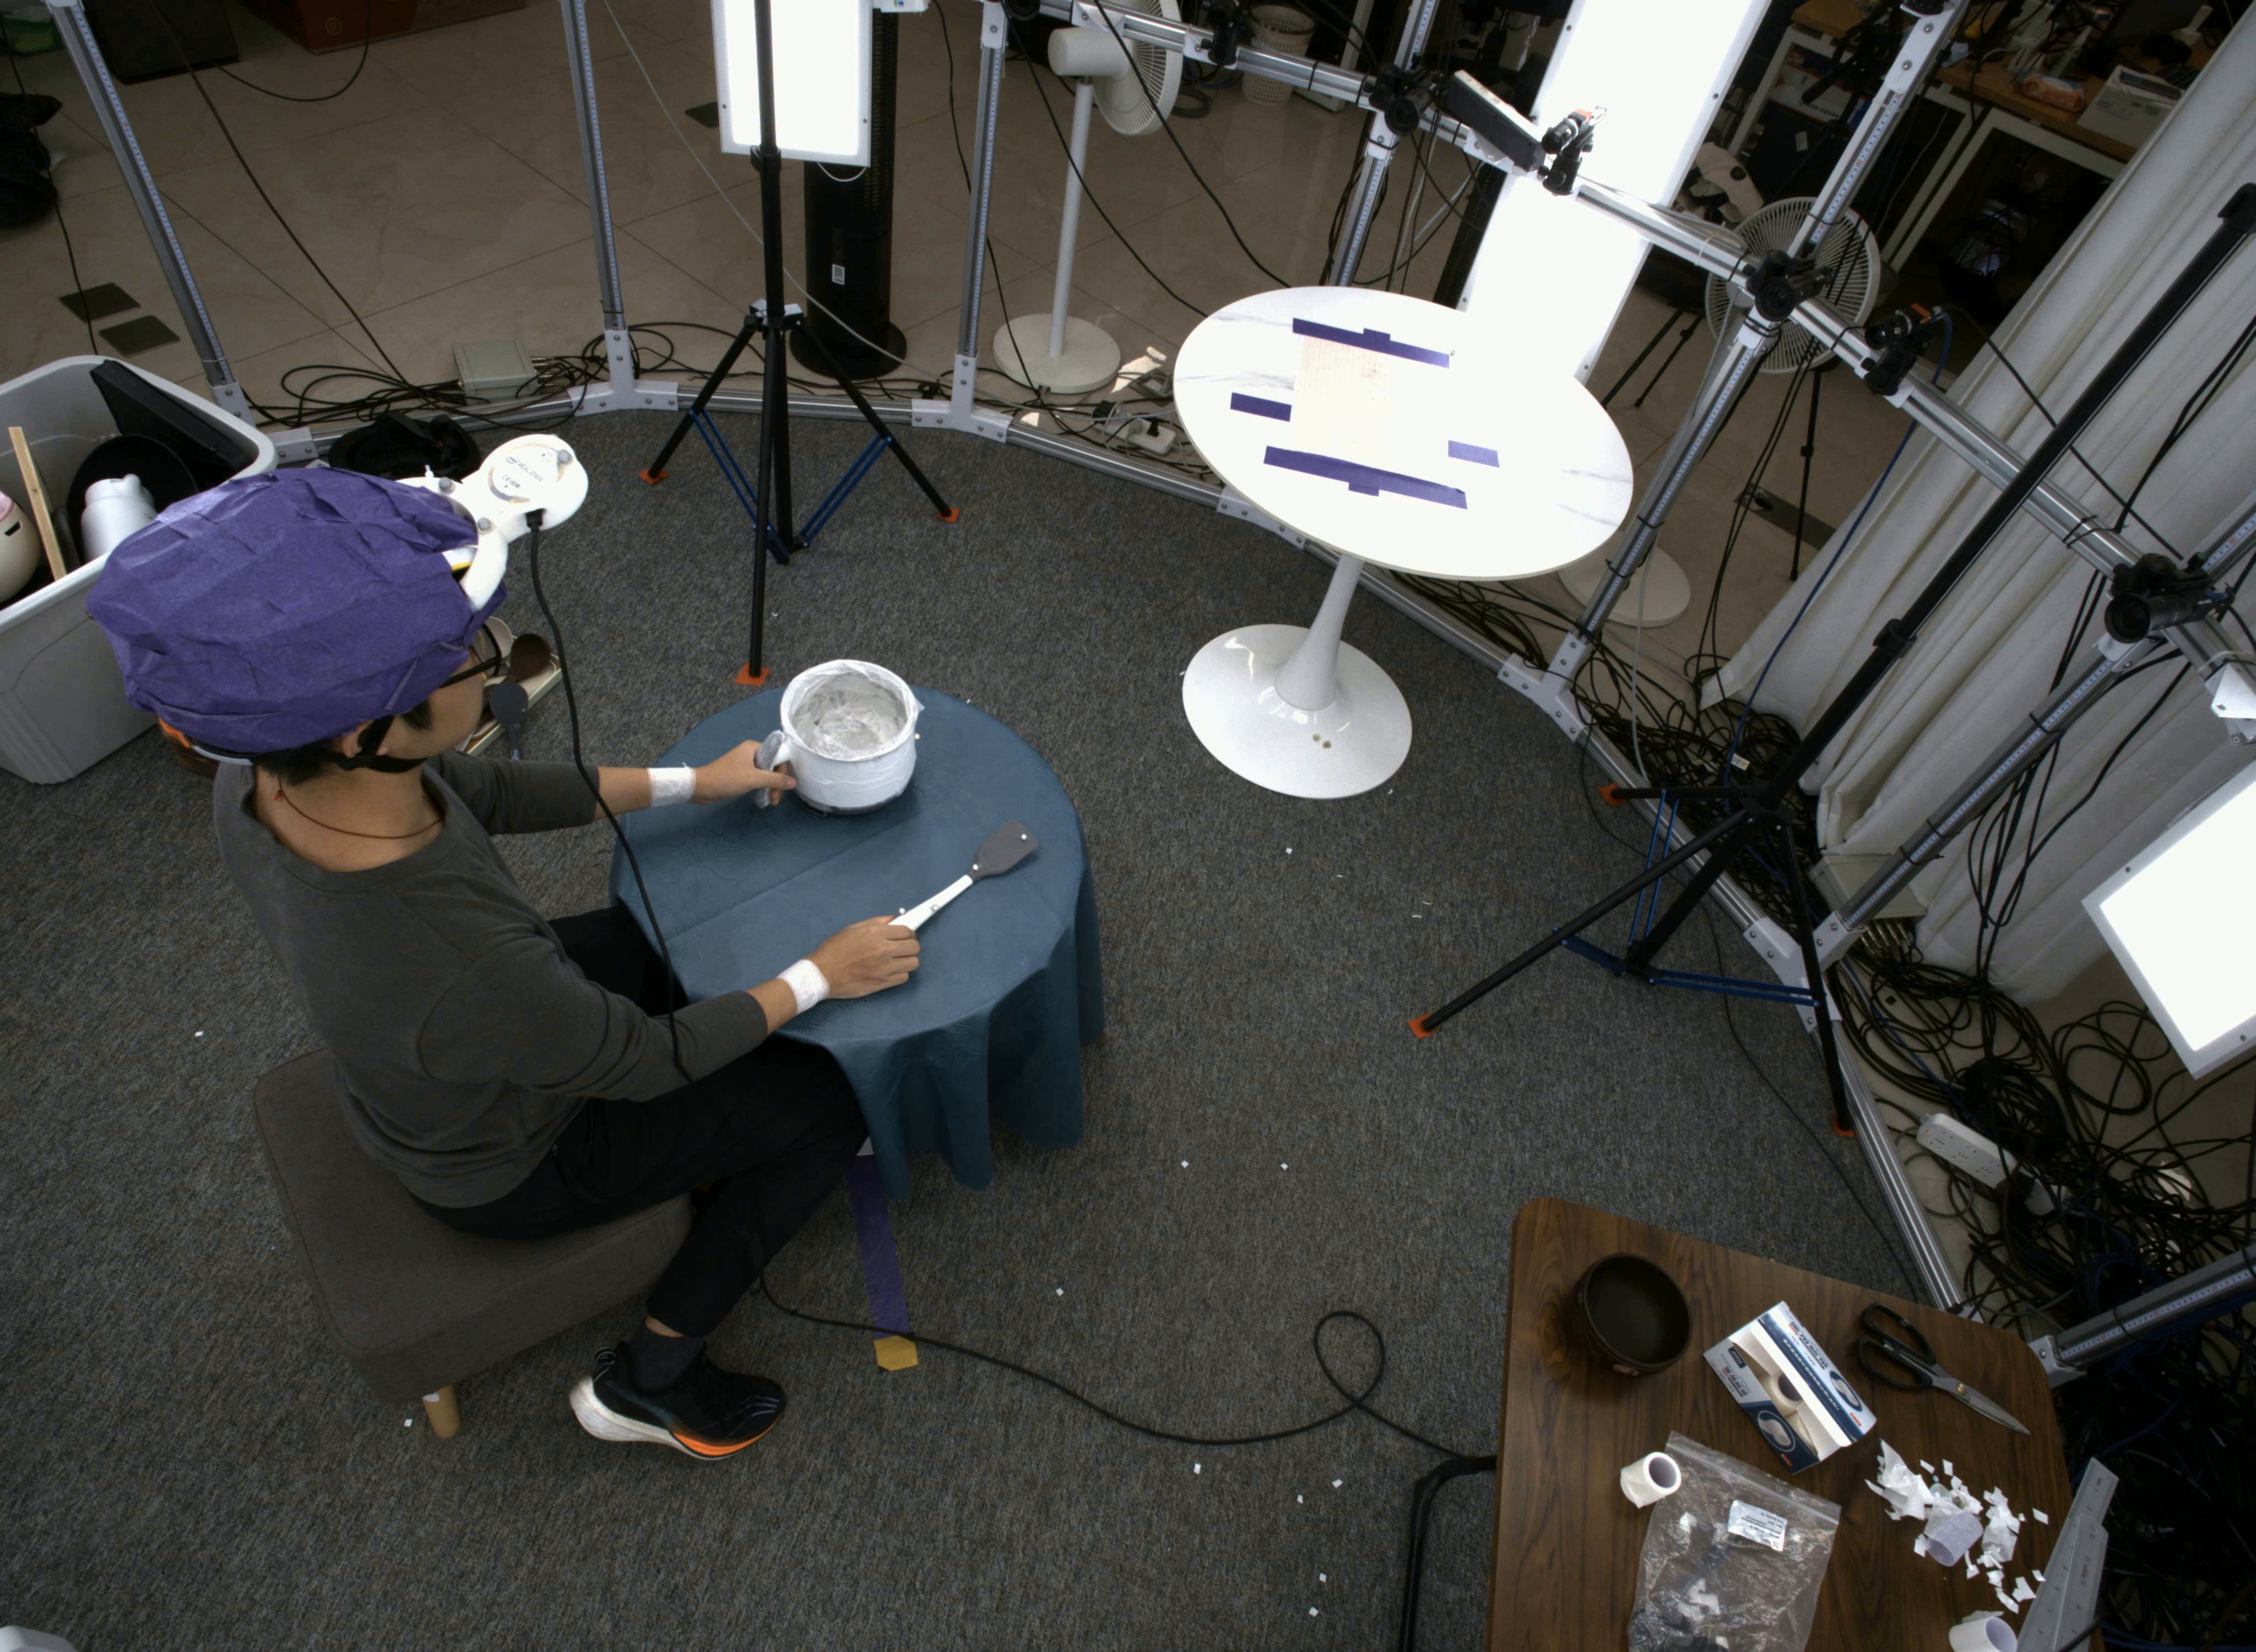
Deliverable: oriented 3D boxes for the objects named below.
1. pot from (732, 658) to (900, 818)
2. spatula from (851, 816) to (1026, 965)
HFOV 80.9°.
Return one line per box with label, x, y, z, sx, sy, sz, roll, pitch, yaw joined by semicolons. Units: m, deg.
pot;-0.417;-0.104;1.725;0.235;0.139;0.174;-27;63;-29
spatula;-0.246;0.082;1.698;0.057;0.033;0.288;39;54;14
